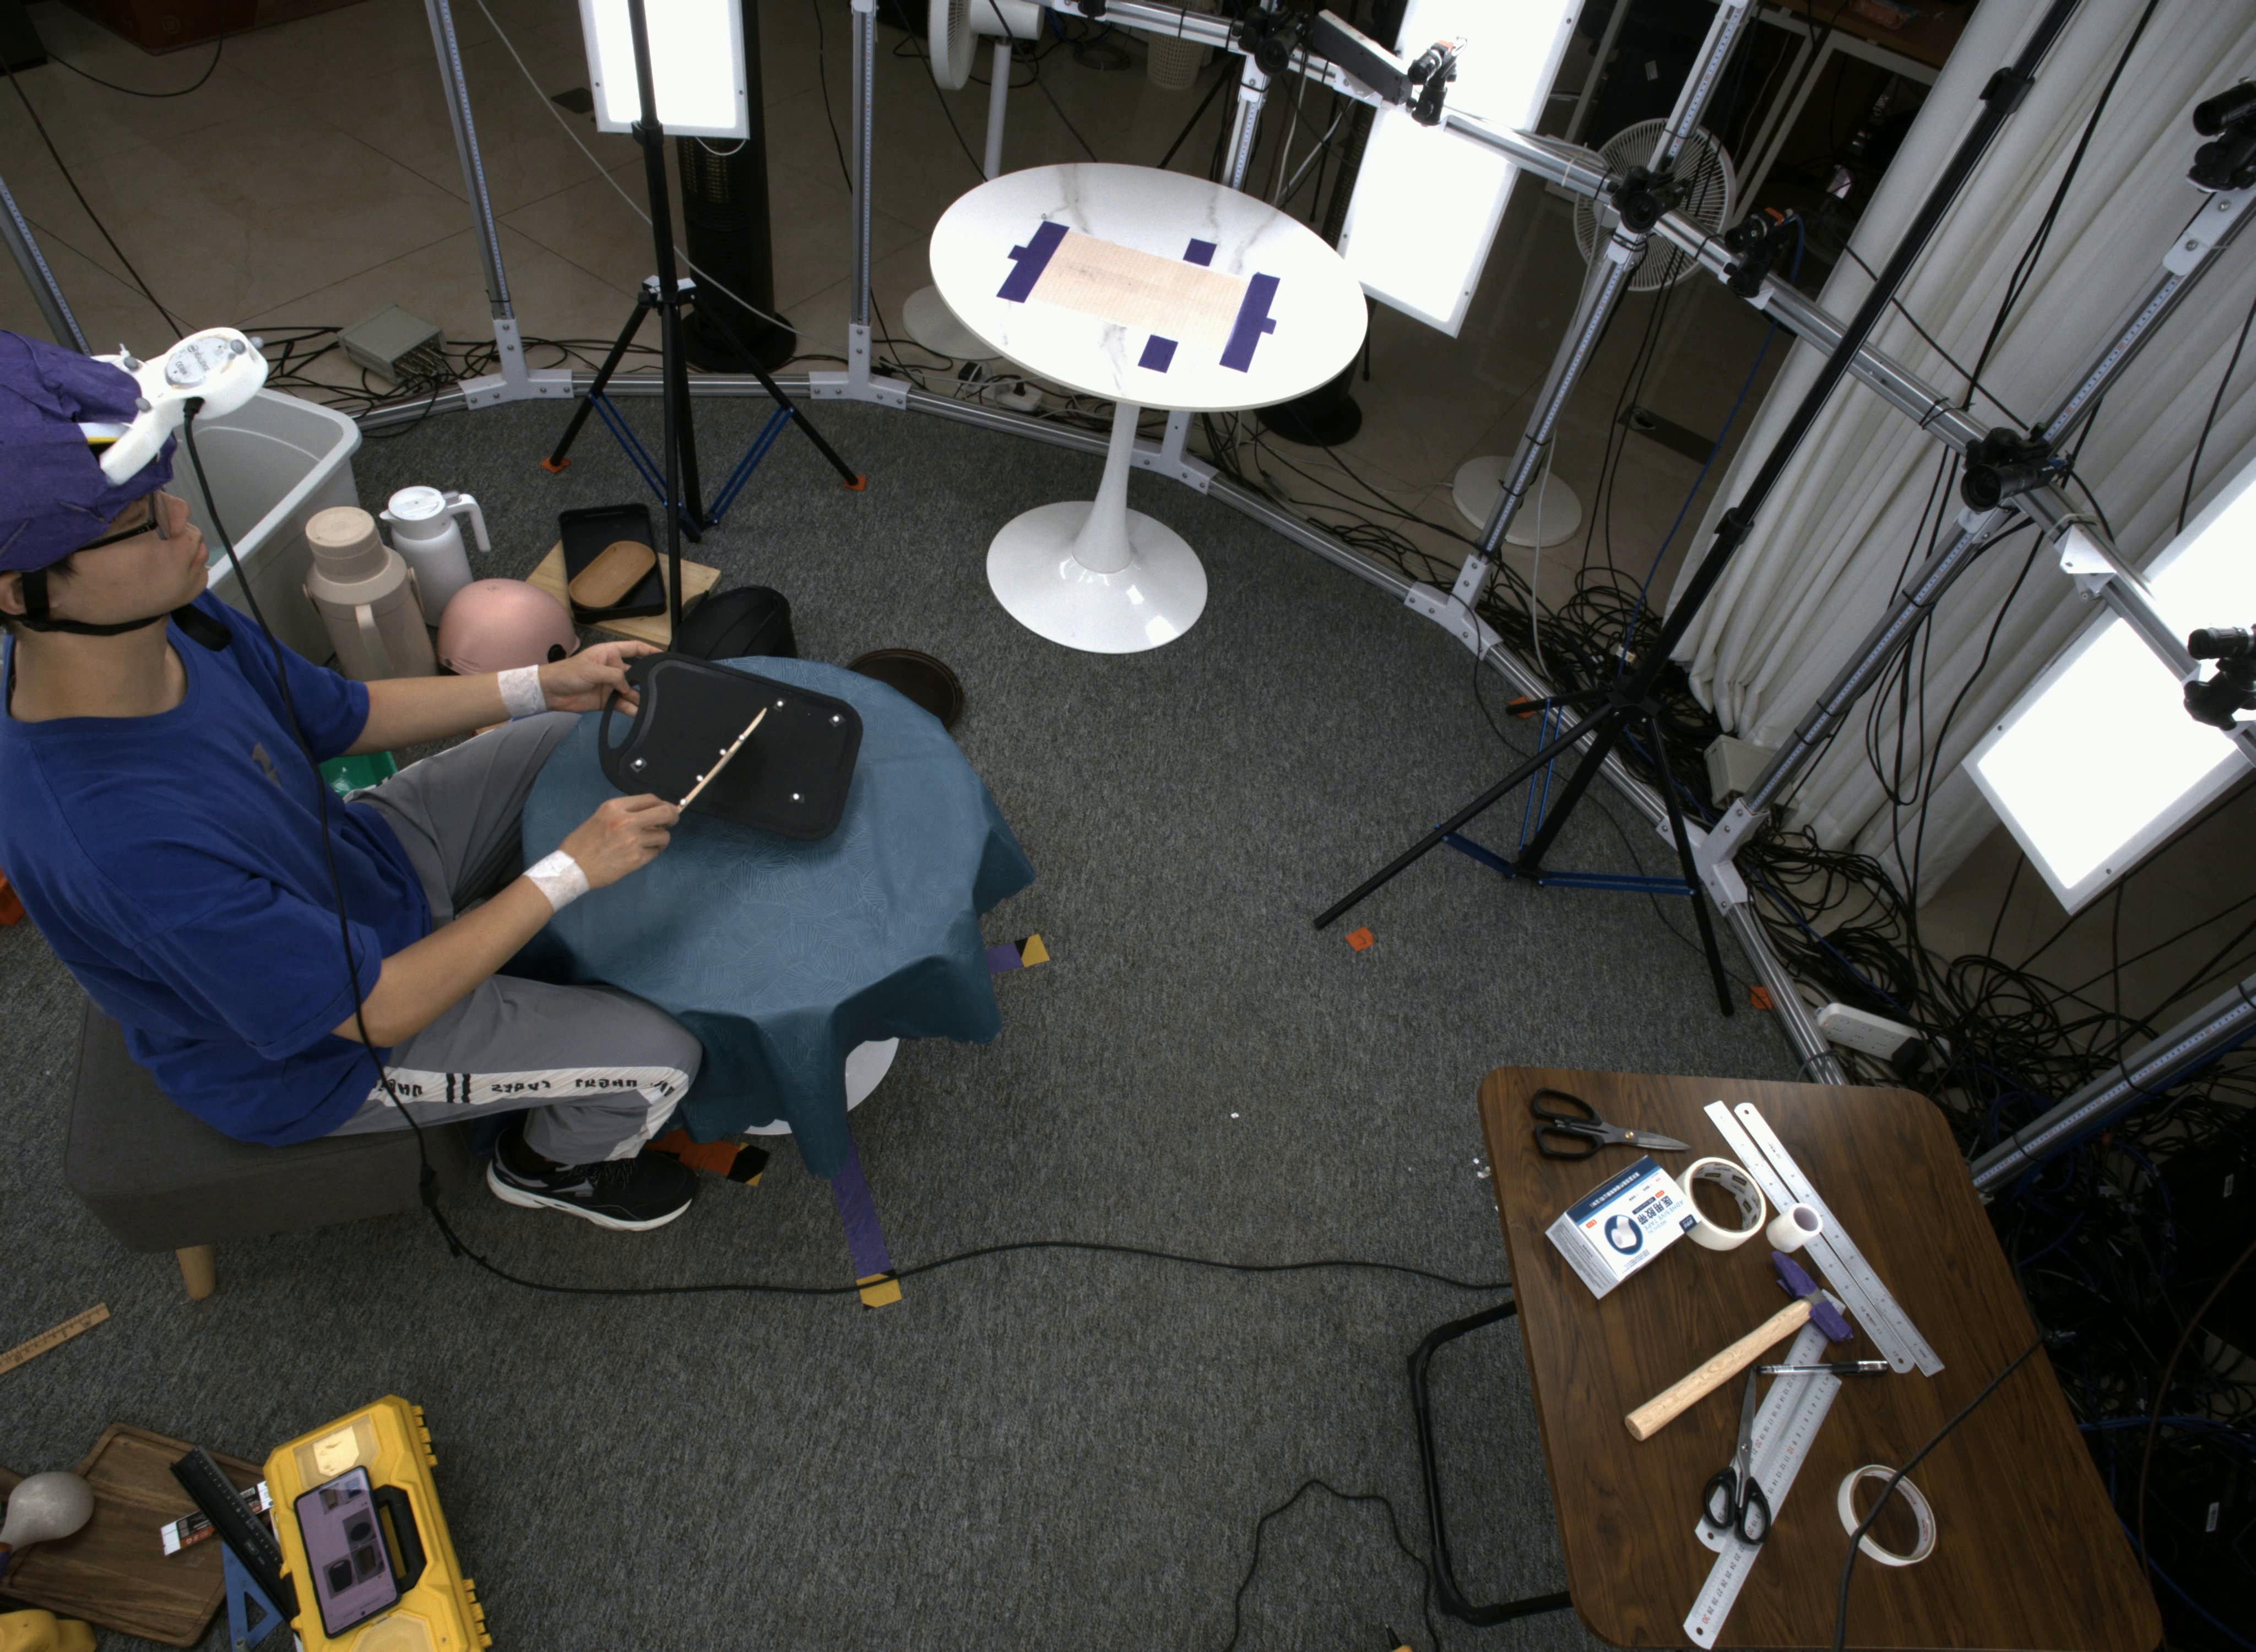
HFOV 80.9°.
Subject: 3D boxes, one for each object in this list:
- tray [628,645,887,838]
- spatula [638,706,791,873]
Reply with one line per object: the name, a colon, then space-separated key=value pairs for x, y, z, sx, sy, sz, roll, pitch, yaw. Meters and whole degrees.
tray: x=-0.488 y=-0.115 z=1.690 sx=0.328 sy=0.010 sz=0.210 roll=18 pitch=67 yaw=-16
spatula: x=-0.509 y=-0.046 z=1.592 sx=0.011 sy=0.071 sz=0.291 roll=42 pitch=51 yaw=-11
